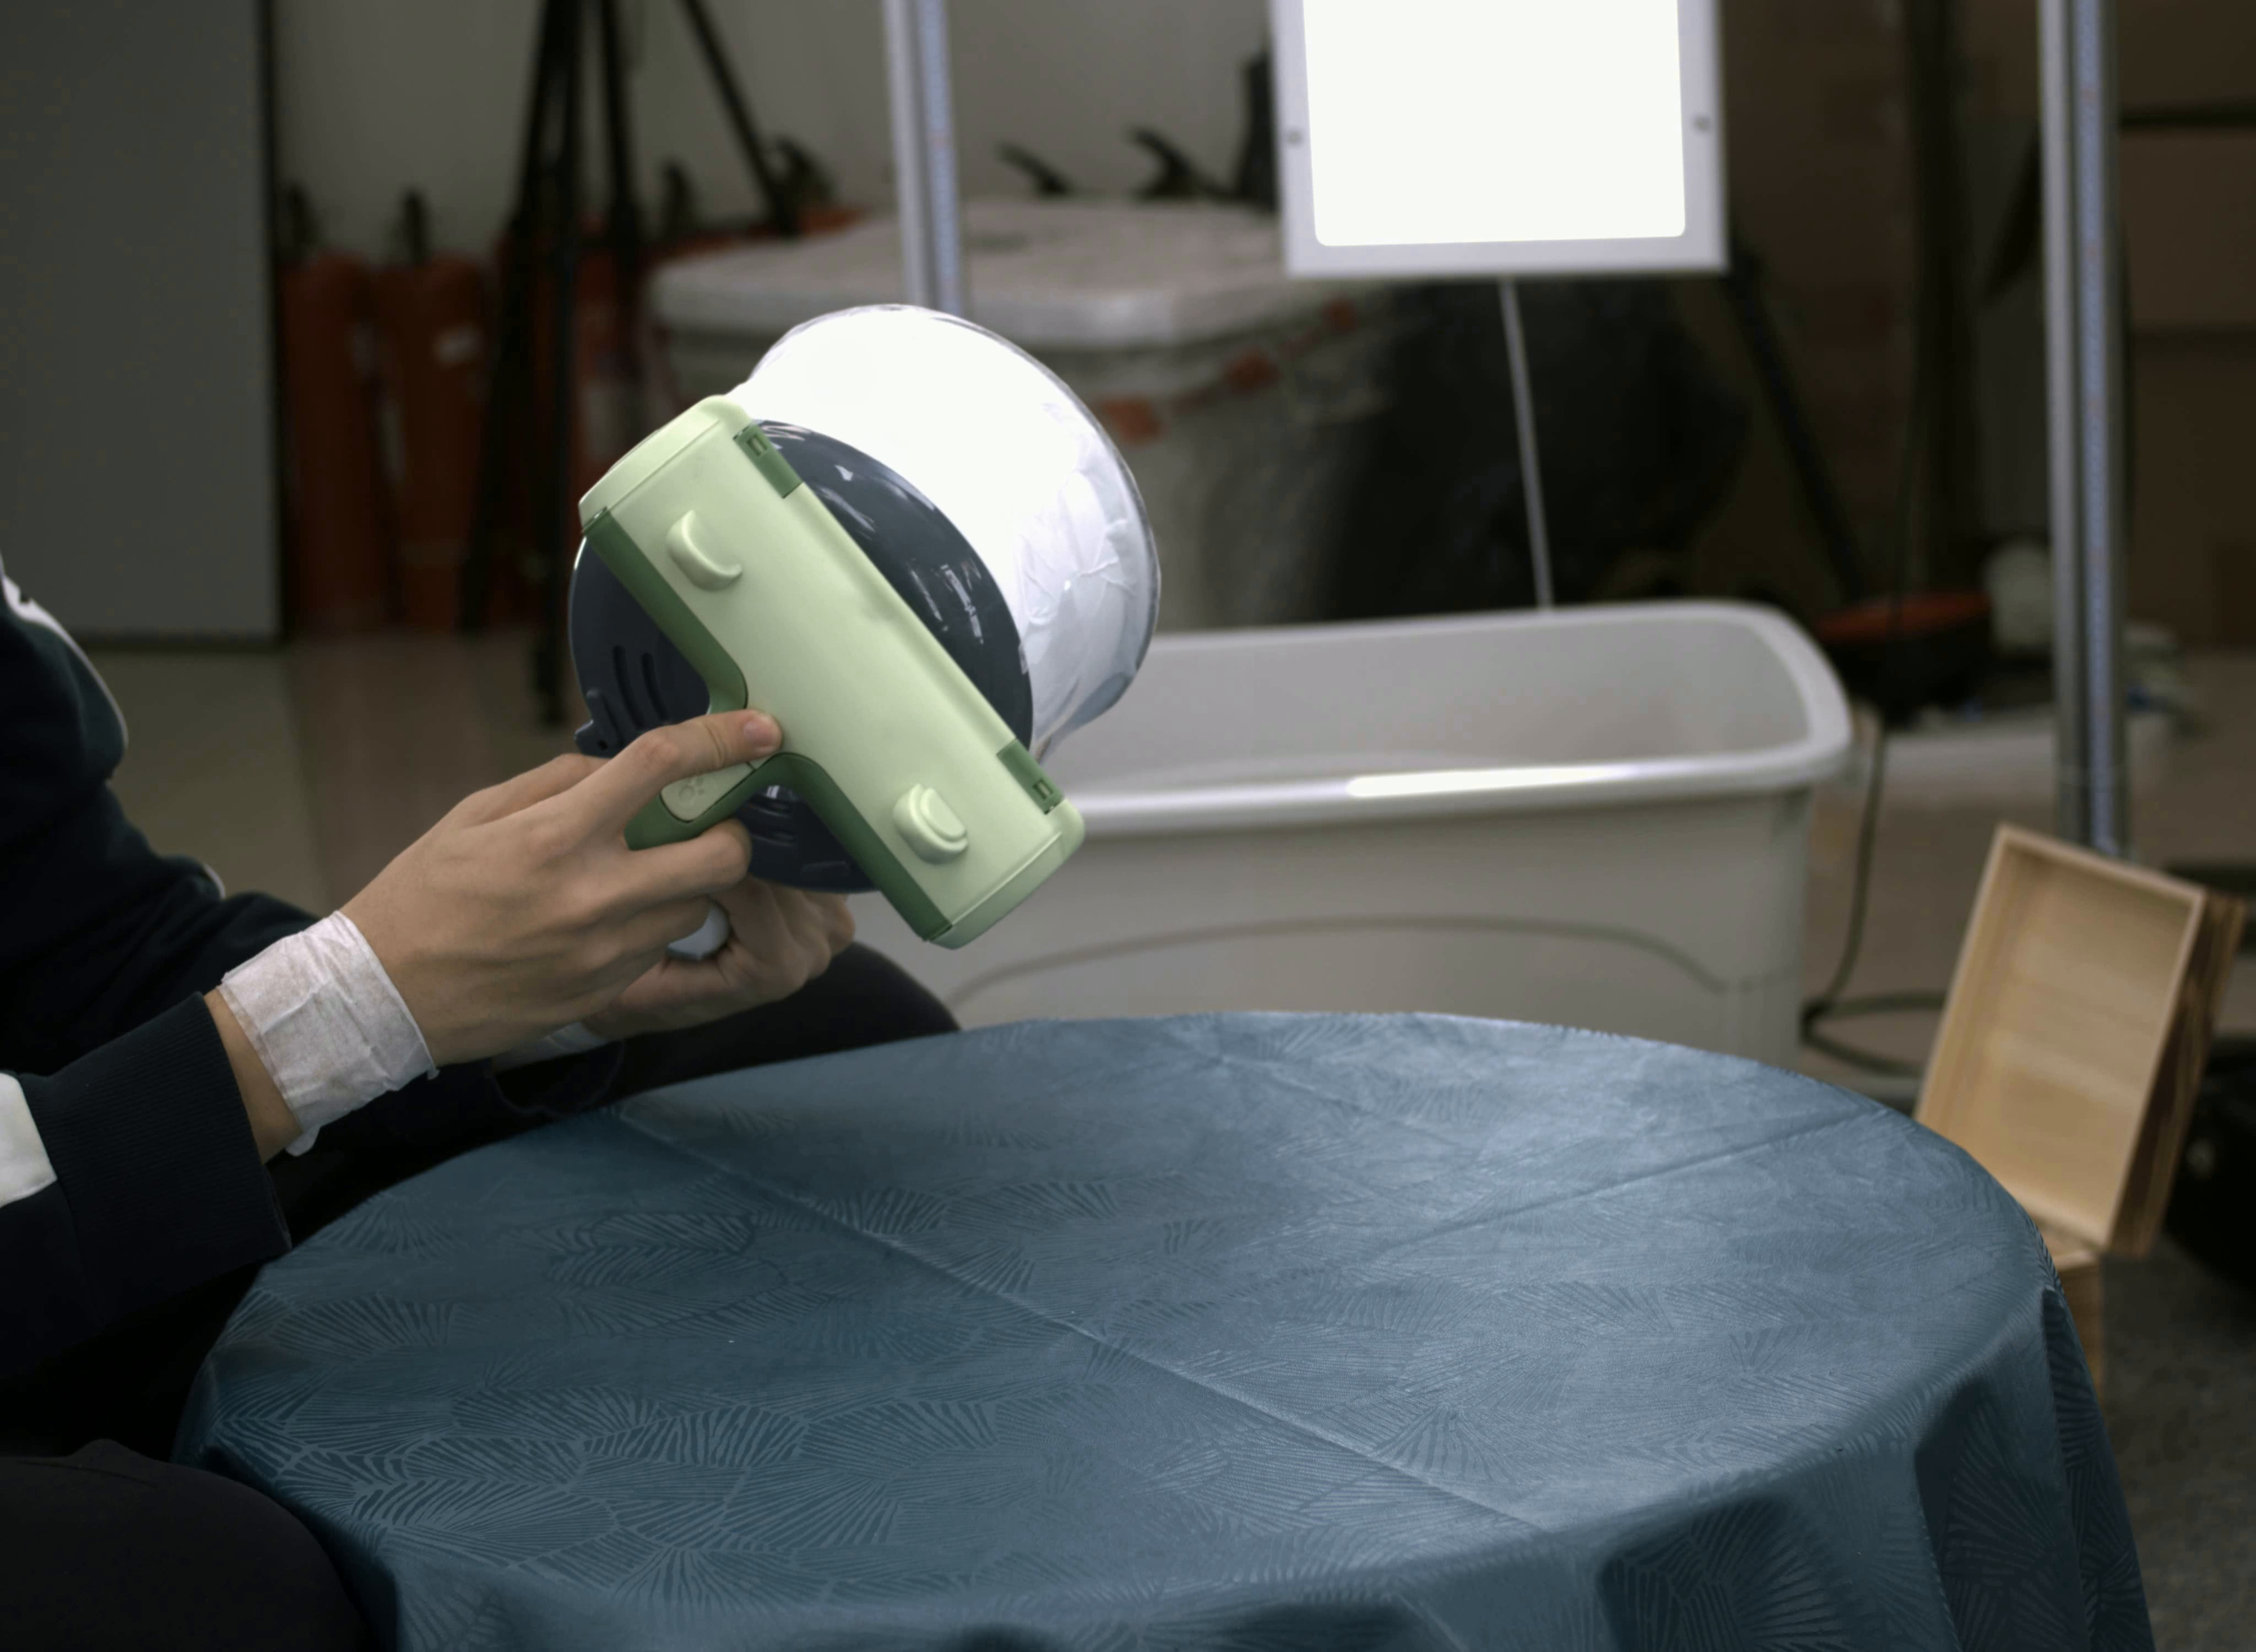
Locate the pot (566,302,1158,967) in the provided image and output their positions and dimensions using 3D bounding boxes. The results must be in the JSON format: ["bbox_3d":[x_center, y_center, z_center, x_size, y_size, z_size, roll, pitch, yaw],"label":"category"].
[{"bbox_3d":[-0.106,-0.056,1.937,0.179,0.237,0.134,35,42,9],"label":"pot"}]

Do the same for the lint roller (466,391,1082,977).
[{"bbox_3d":[-0.141,-0.014,1.800,0.182,0.198,0.083,-40,4,-8],"label":"lint roller"}]
